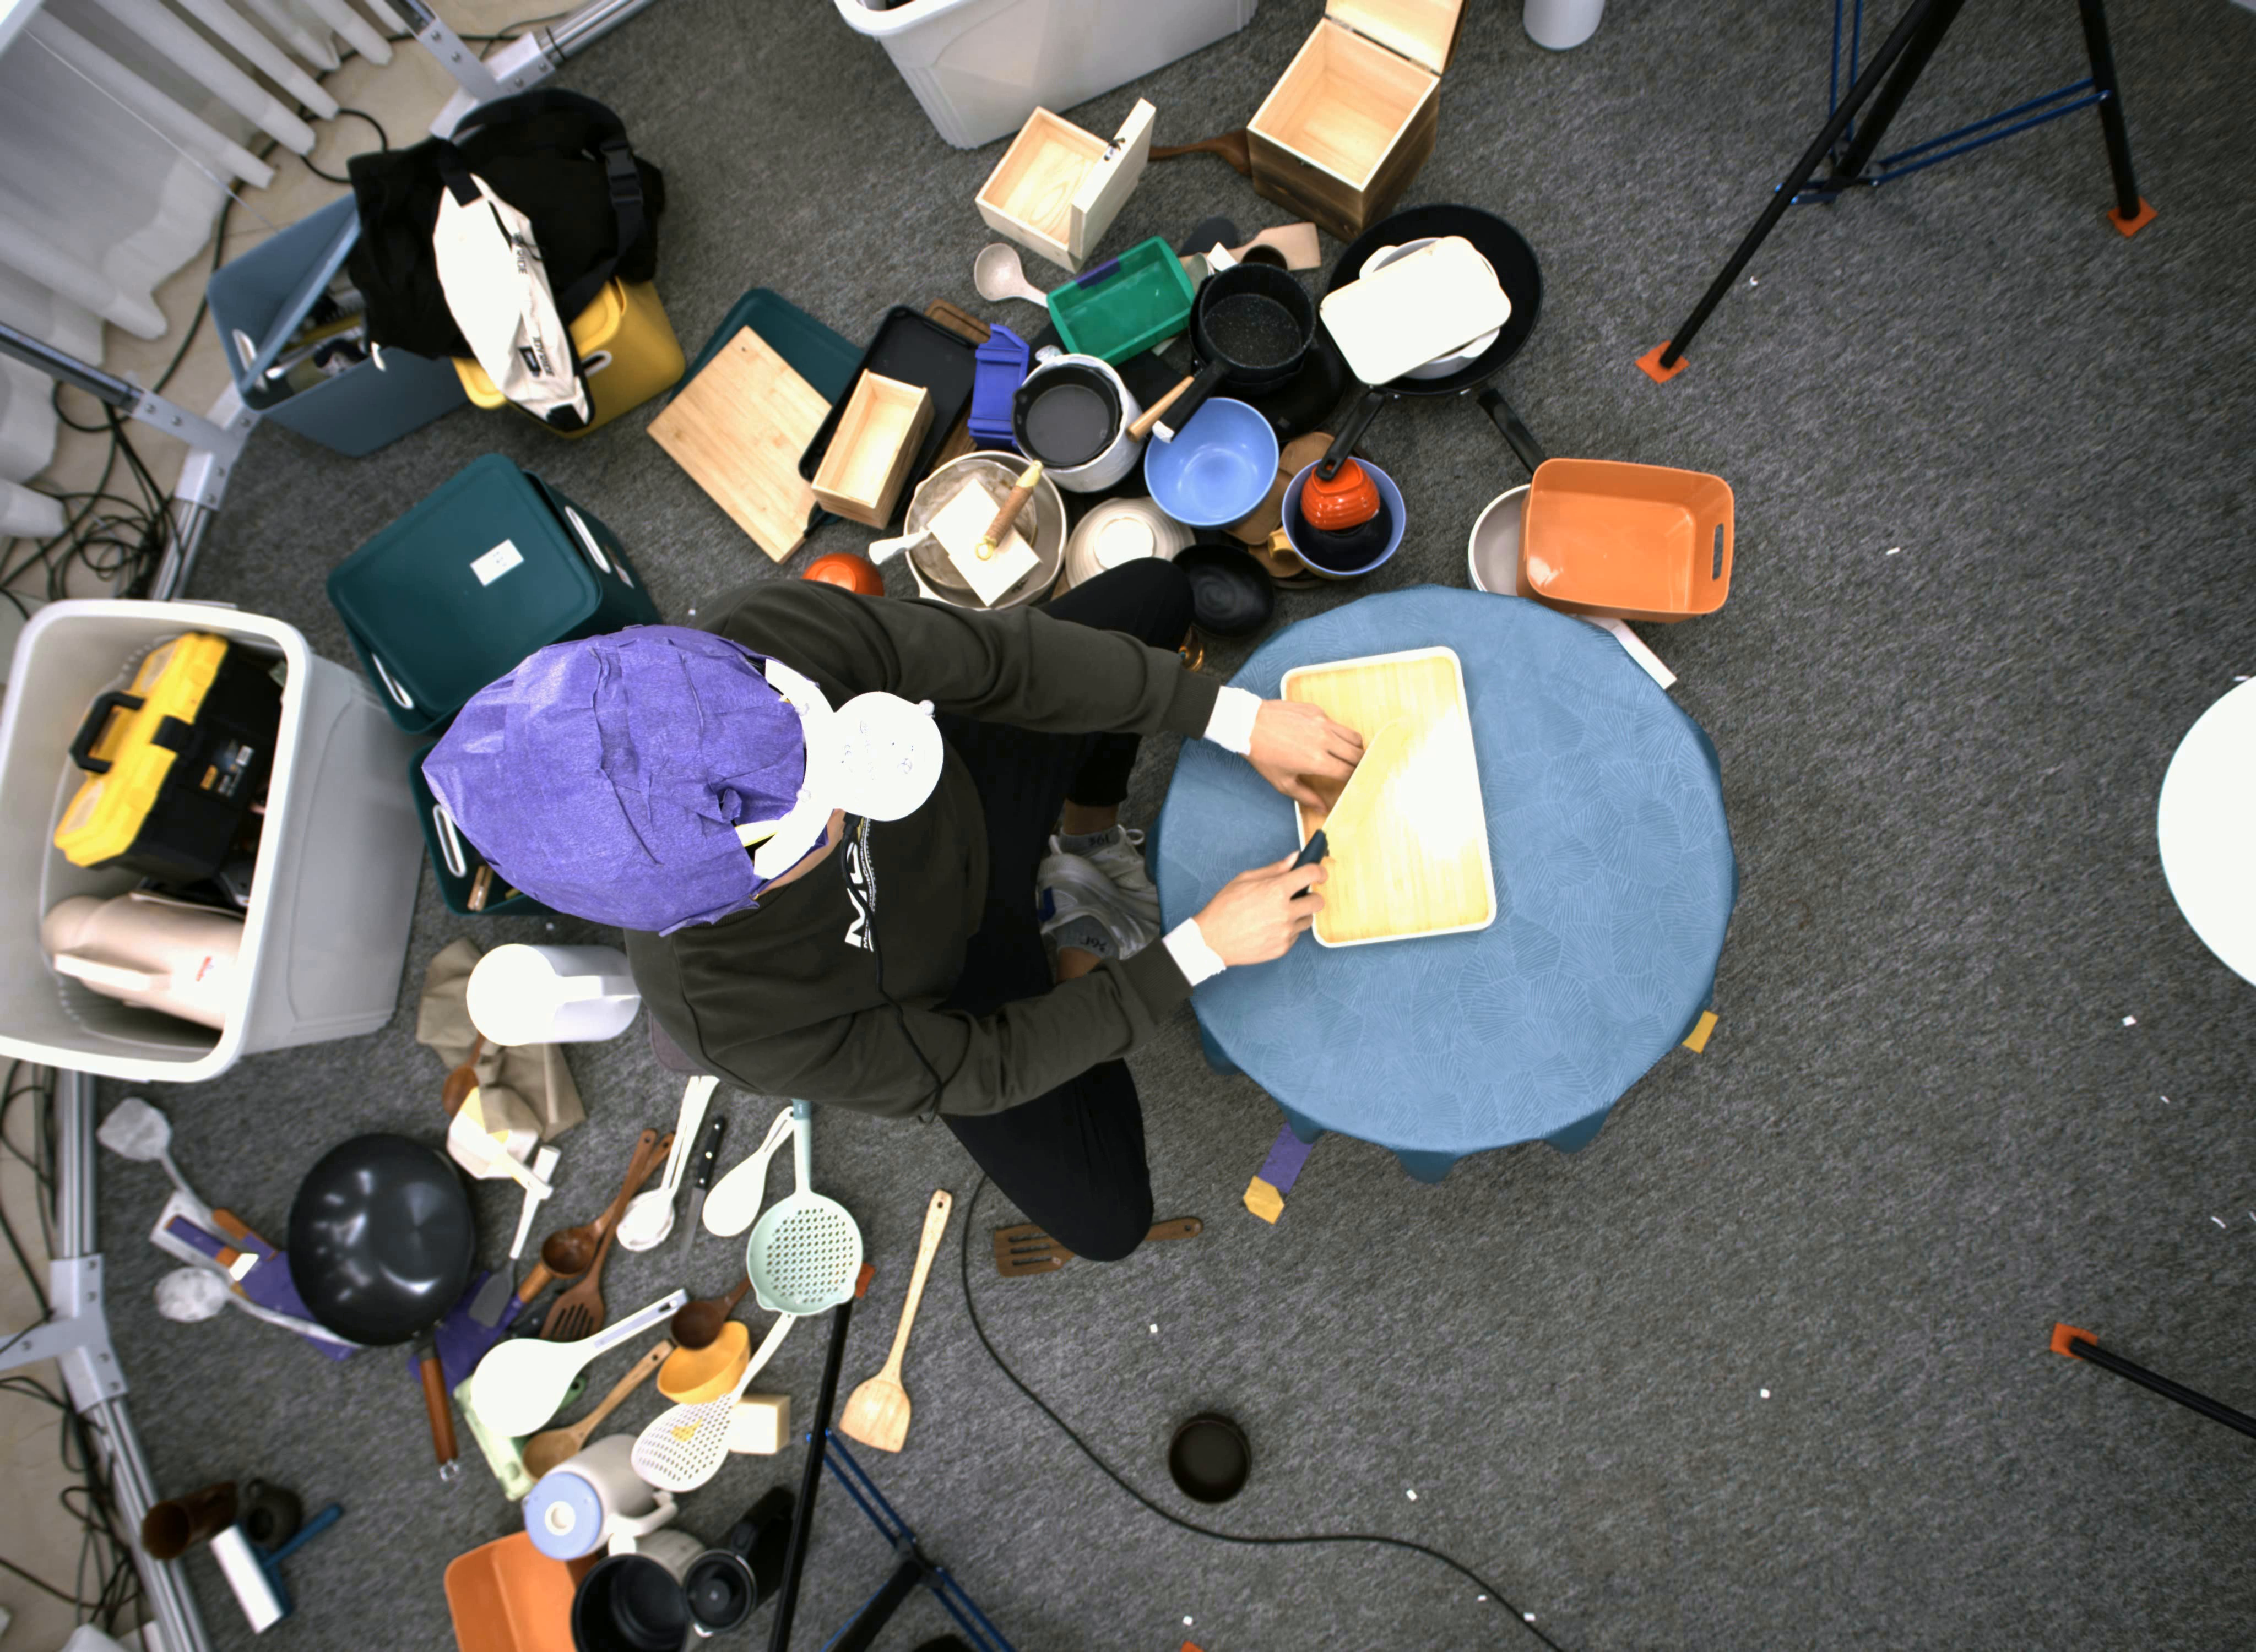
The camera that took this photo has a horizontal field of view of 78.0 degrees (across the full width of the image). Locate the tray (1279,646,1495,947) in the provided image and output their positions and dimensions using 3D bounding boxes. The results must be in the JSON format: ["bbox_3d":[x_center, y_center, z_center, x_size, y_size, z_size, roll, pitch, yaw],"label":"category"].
[{"bbox_3d":[0.271,-0.032,1.452,0.192,0.027,0.298,-8,85,11],"label":"tray"}]

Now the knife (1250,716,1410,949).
[{"bbox_3d":[0.214,0.005,1.430,0.027,0.081,0.289,33,90,35],"label":"knife"}]
